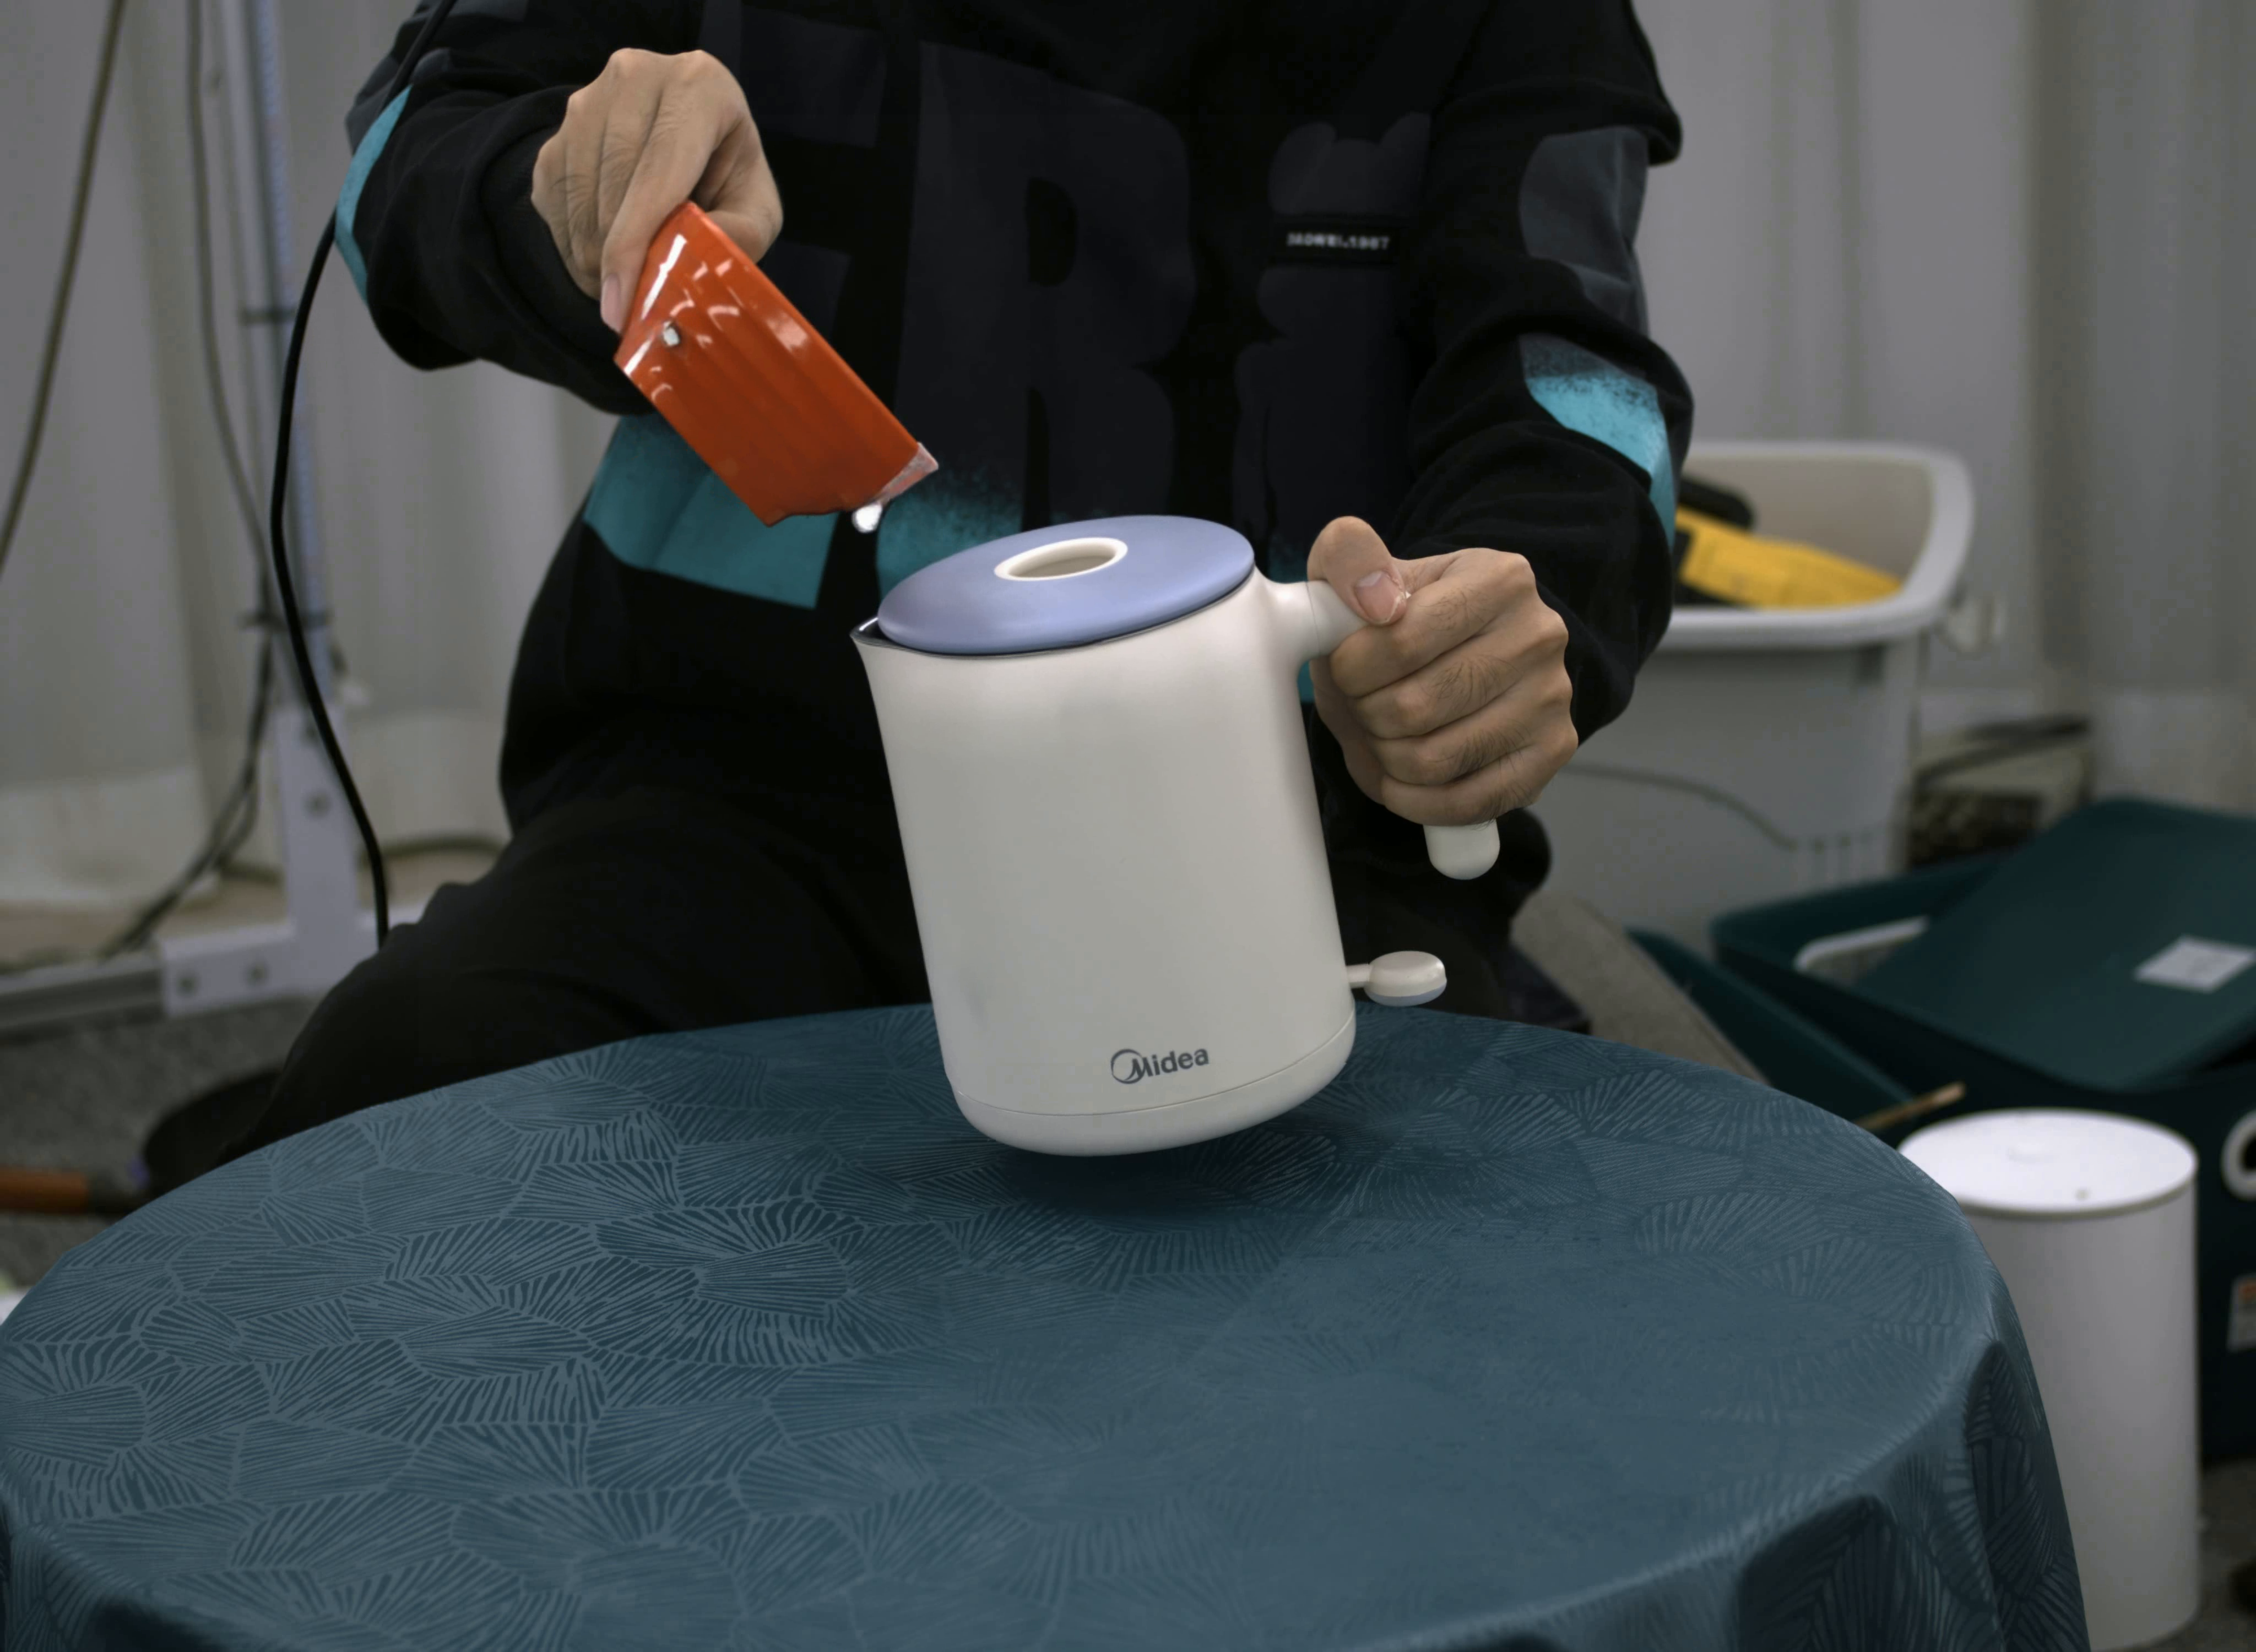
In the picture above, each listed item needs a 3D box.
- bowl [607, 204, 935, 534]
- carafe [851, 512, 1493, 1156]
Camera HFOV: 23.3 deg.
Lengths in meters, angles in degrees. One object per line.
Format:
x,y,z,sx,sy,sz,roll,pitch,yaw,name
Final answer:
-0.115,-0.130,1.651,0.051,0.118,0.120,-45,17,3,bowl
0.019,-0.002,1.713,0.190,0.181,0.133,-9,18,-3,carafe
